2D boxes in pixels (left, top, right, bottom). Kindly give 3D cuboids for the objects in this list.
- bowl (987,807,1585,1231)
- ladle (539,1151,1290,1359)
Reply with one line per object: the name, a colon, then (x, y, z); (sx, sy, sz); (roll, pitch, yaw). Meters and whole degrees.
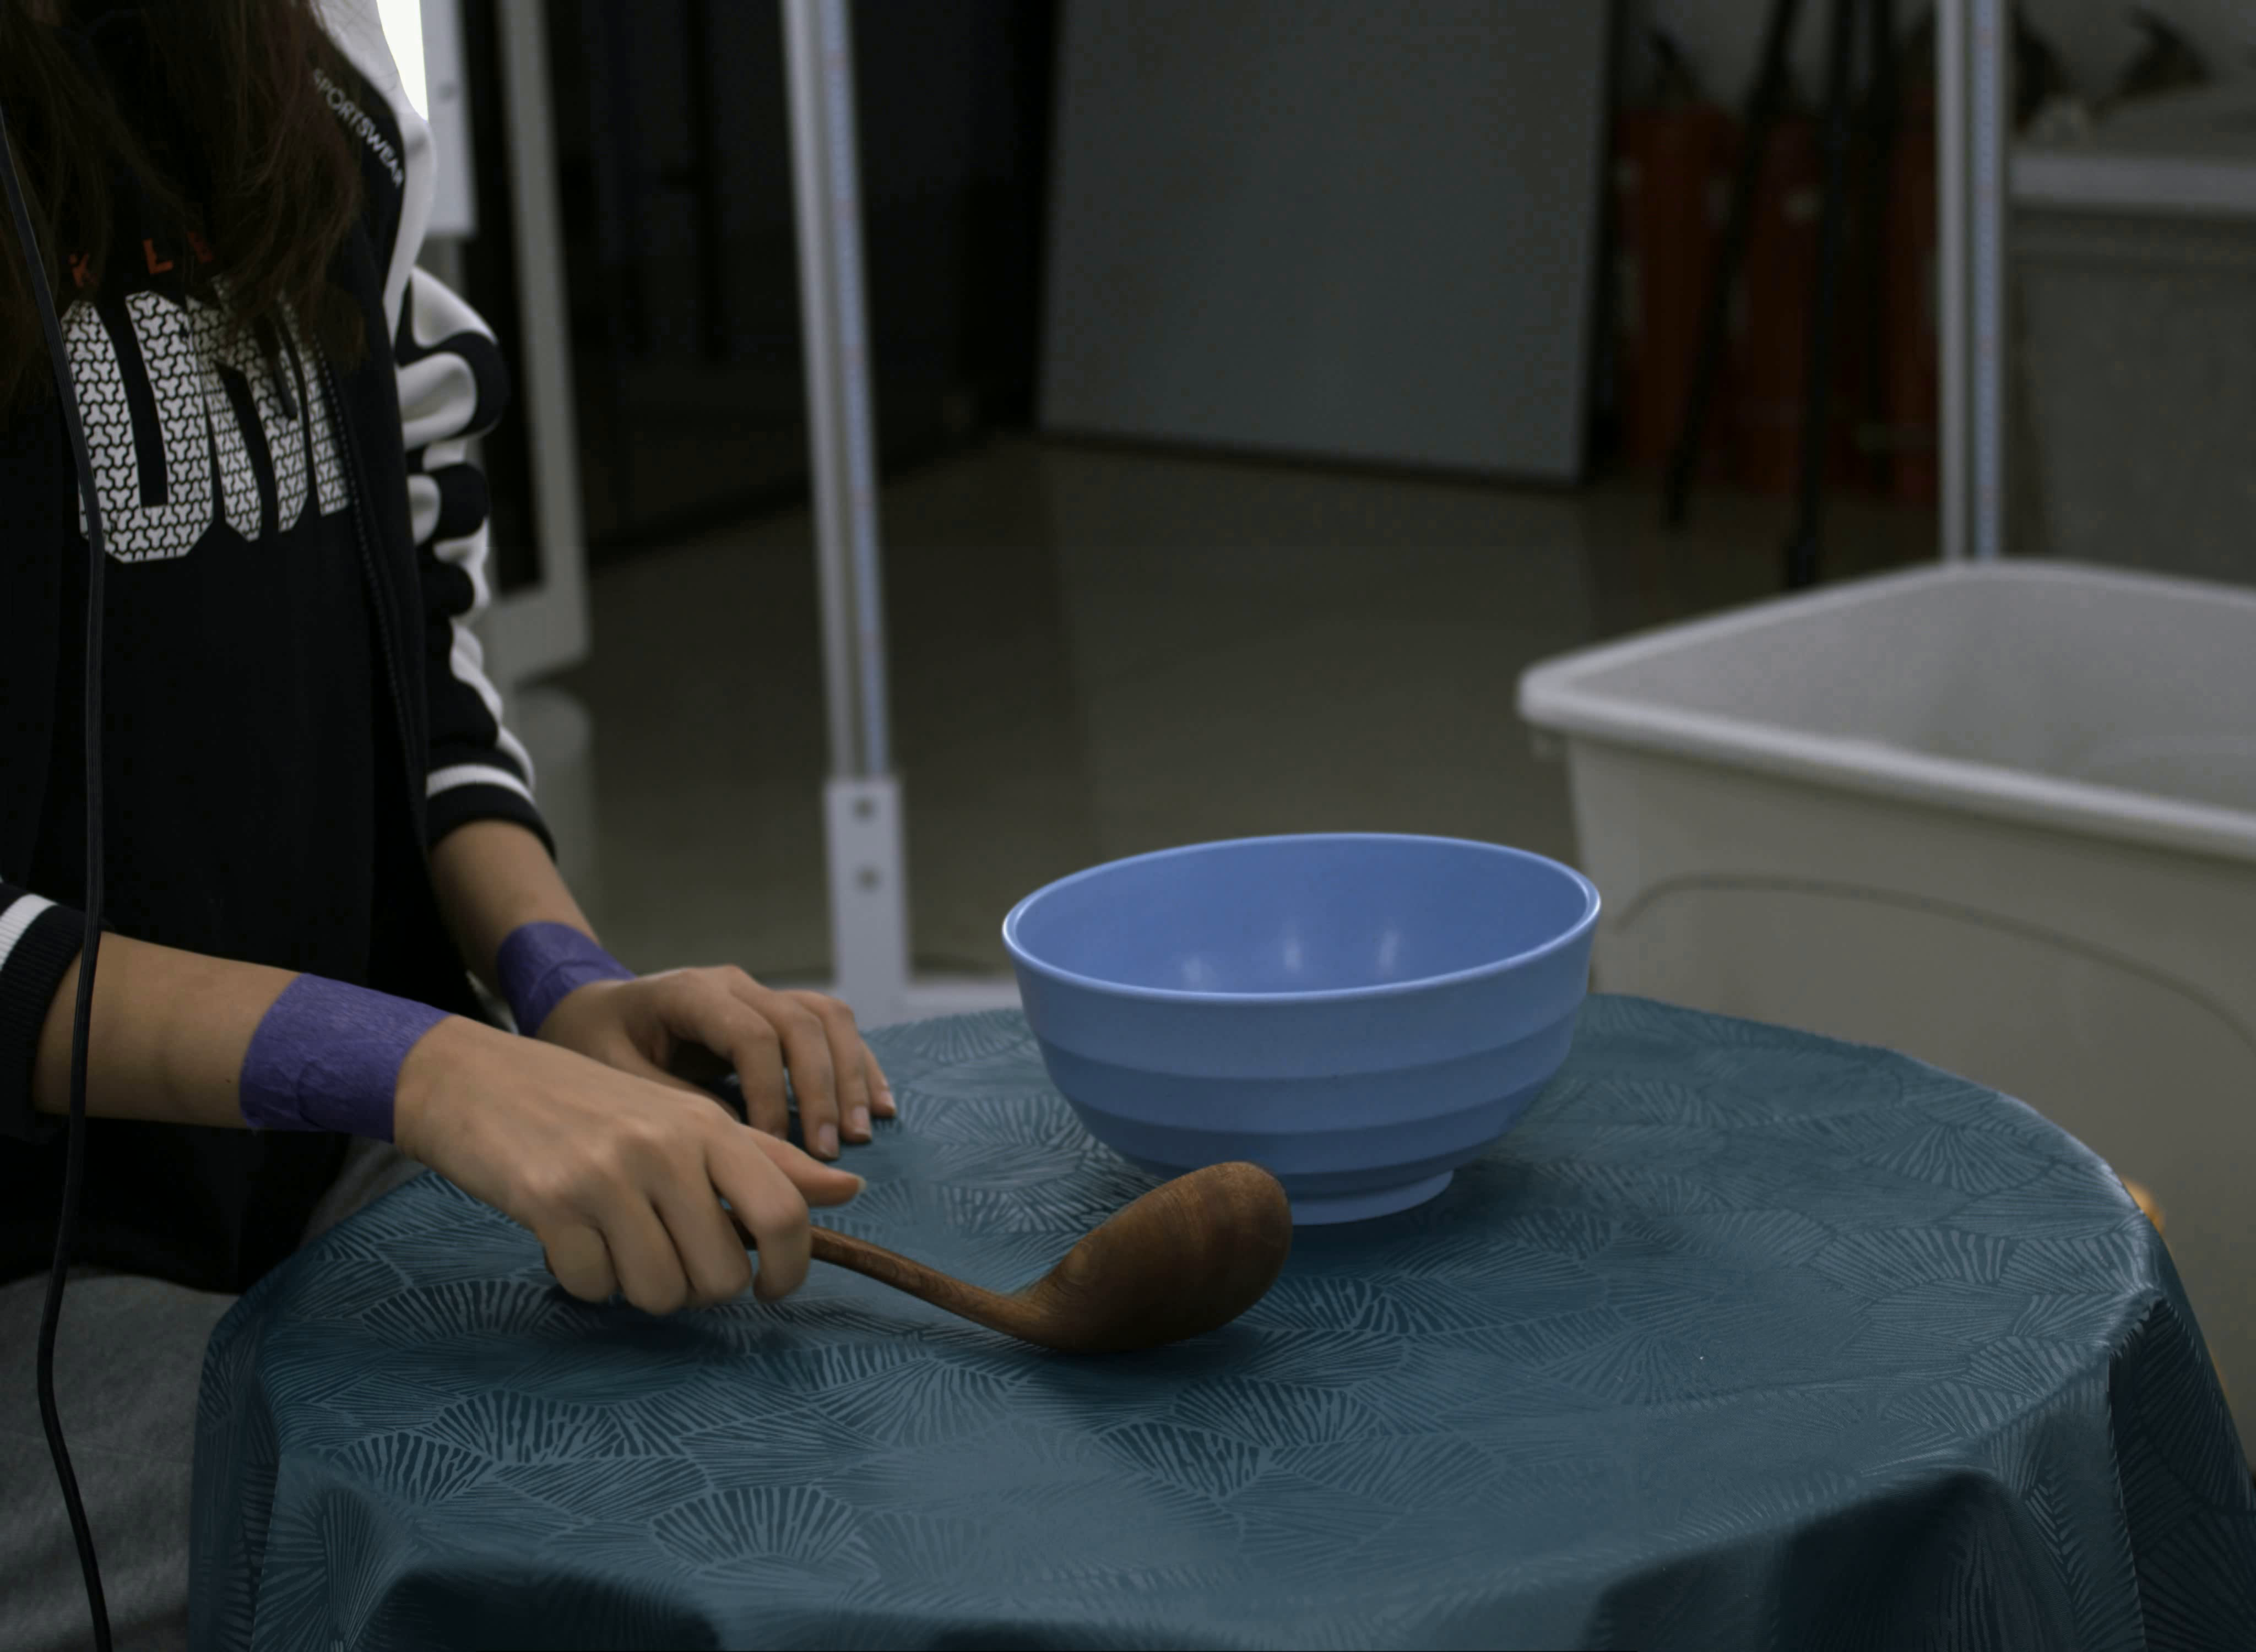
bowl: (0.054, 0.070, 1.762); (0.194, 0.096, 0.197); (-4, 20, 0)
ladle: (-0.069, 0.123, 1.655); (0.261, 0.066, 0.075); (4, -18, 32)
